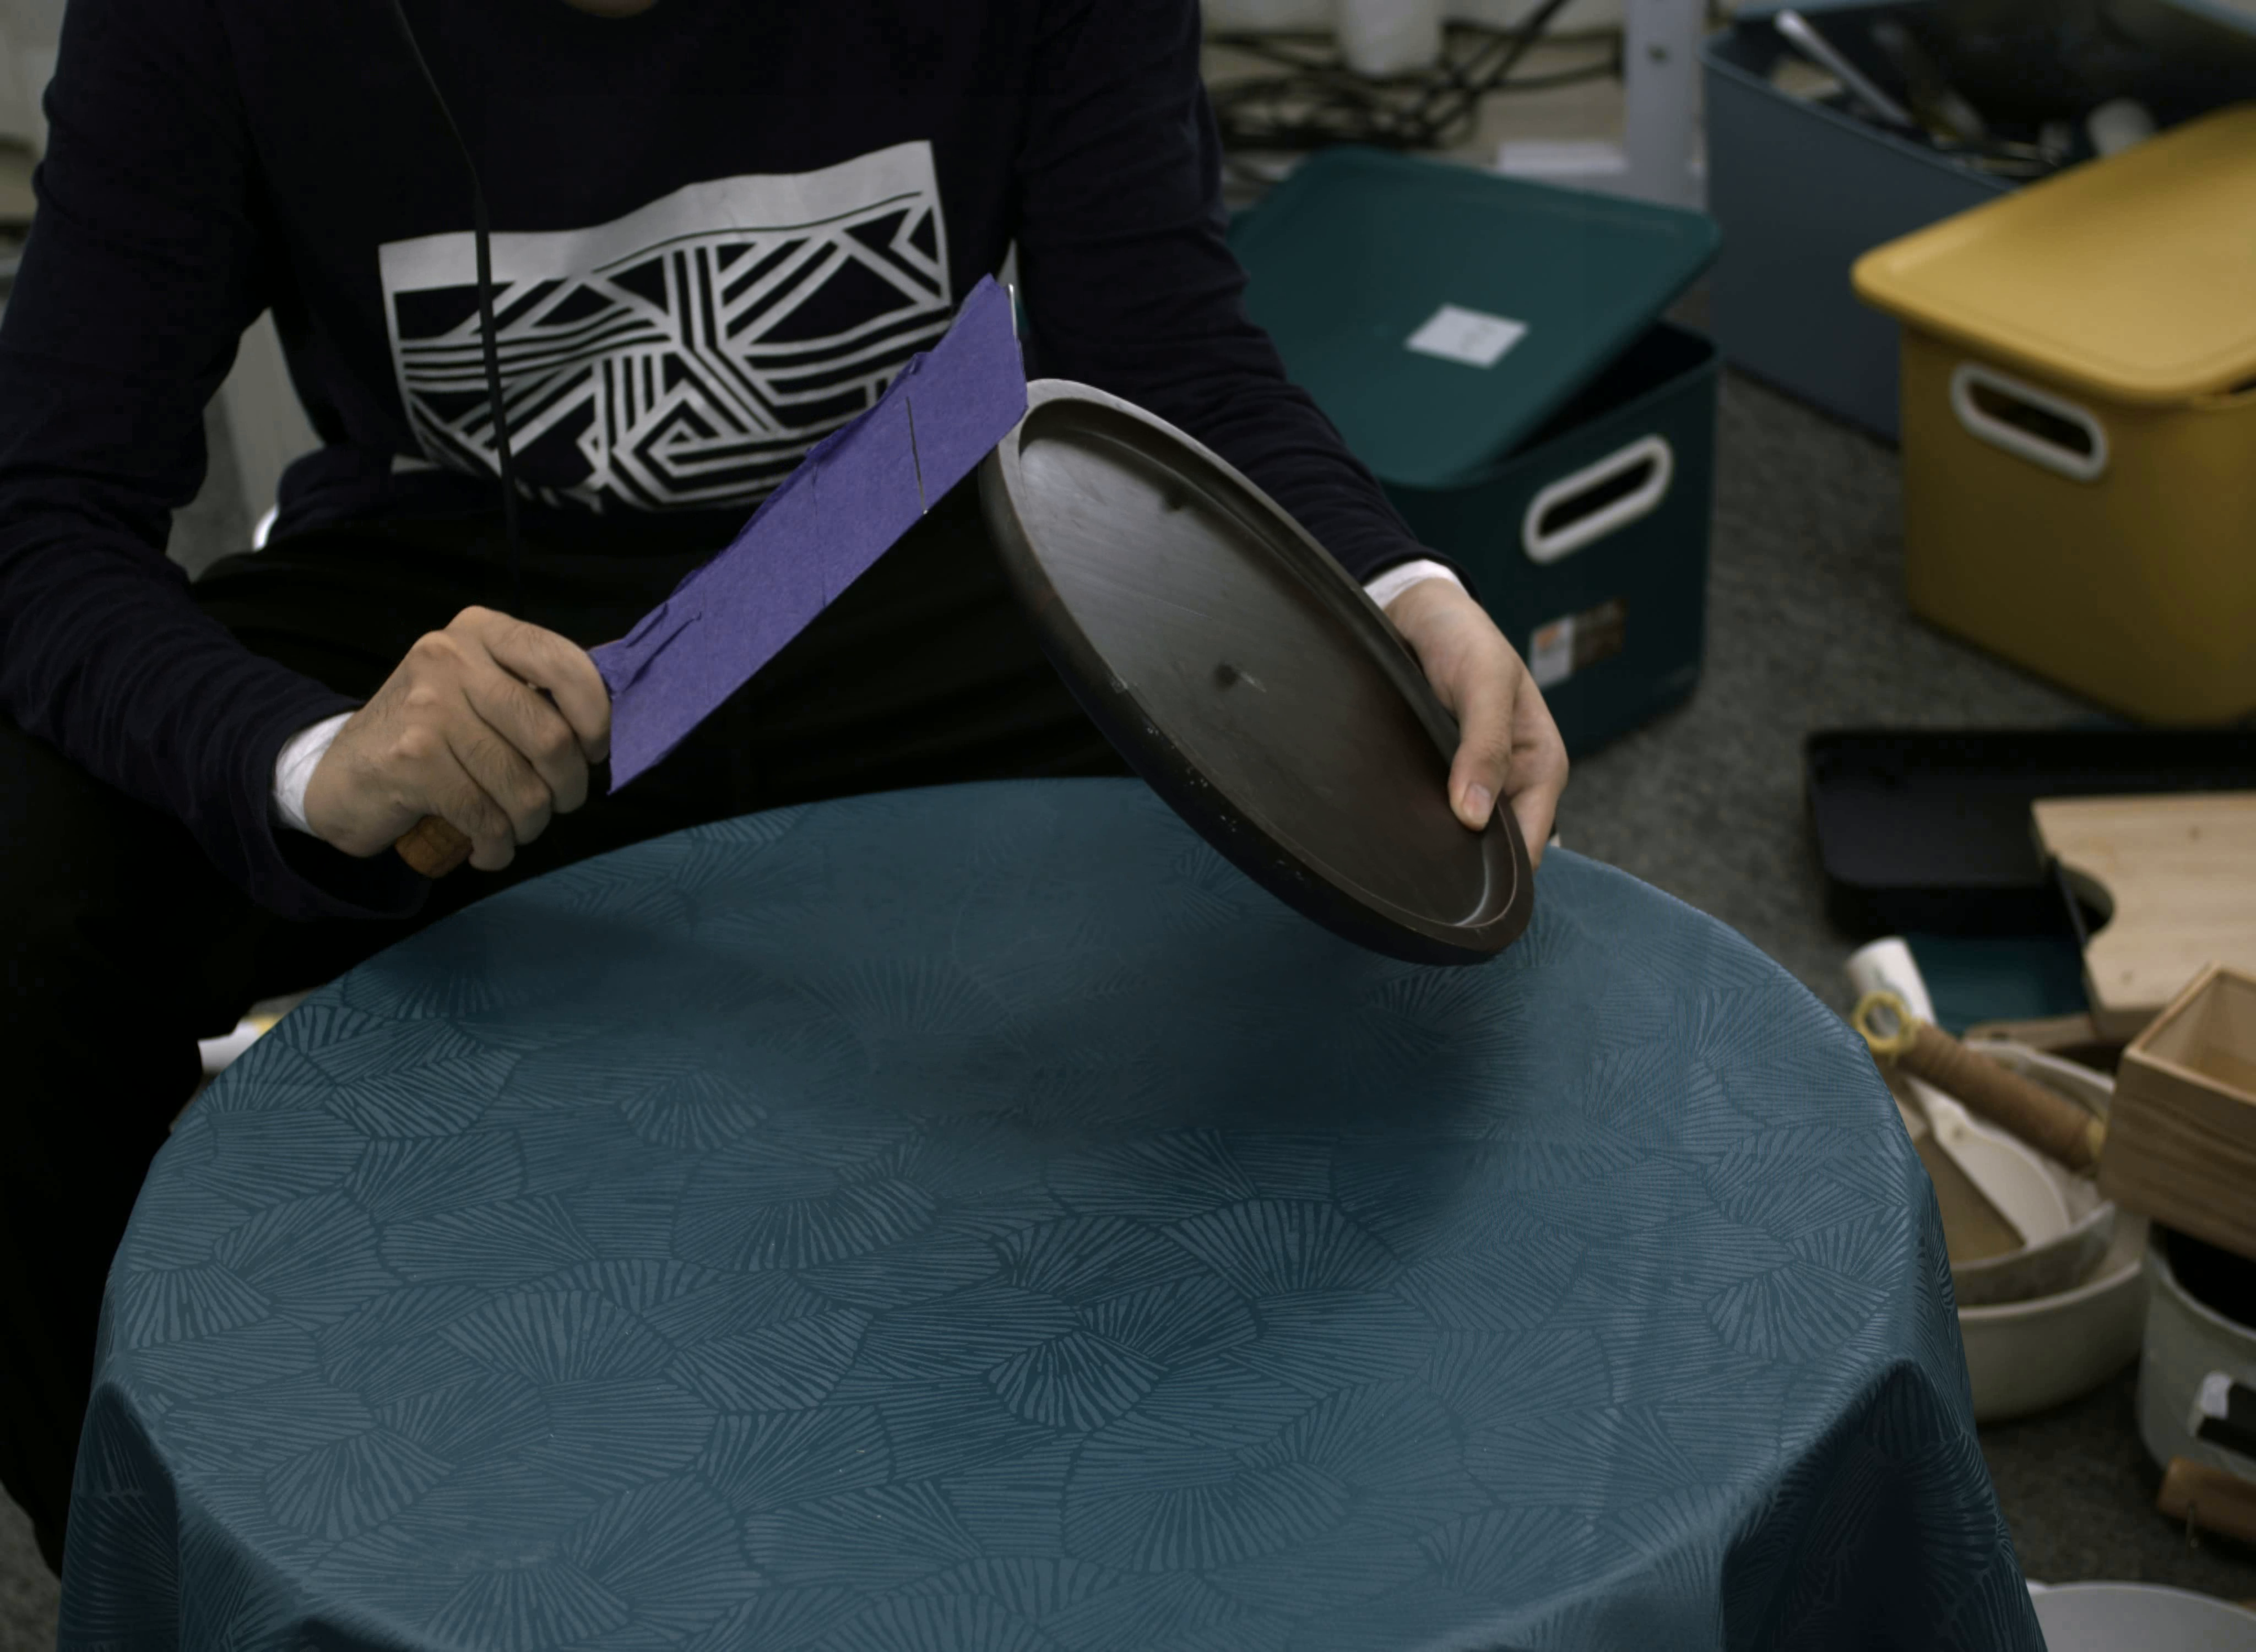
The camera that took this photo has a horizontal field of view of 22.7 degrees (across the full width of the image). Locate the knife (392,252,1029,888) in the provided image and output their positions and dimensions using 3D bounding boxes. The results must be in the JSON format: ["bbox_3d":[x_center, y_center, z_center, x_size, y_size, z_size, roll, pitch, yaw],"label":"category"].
[{"bbox_3d":[-0.146,-0.071,1.932,0.032,0.311,0.105,36,23,-24],"label":"knife"}]

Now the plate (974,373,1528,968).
[{"bbox_3d":[0.041,-0.052,1.901,0.253,0.028,0.259,39,23,-19],"label":"plate"}]
